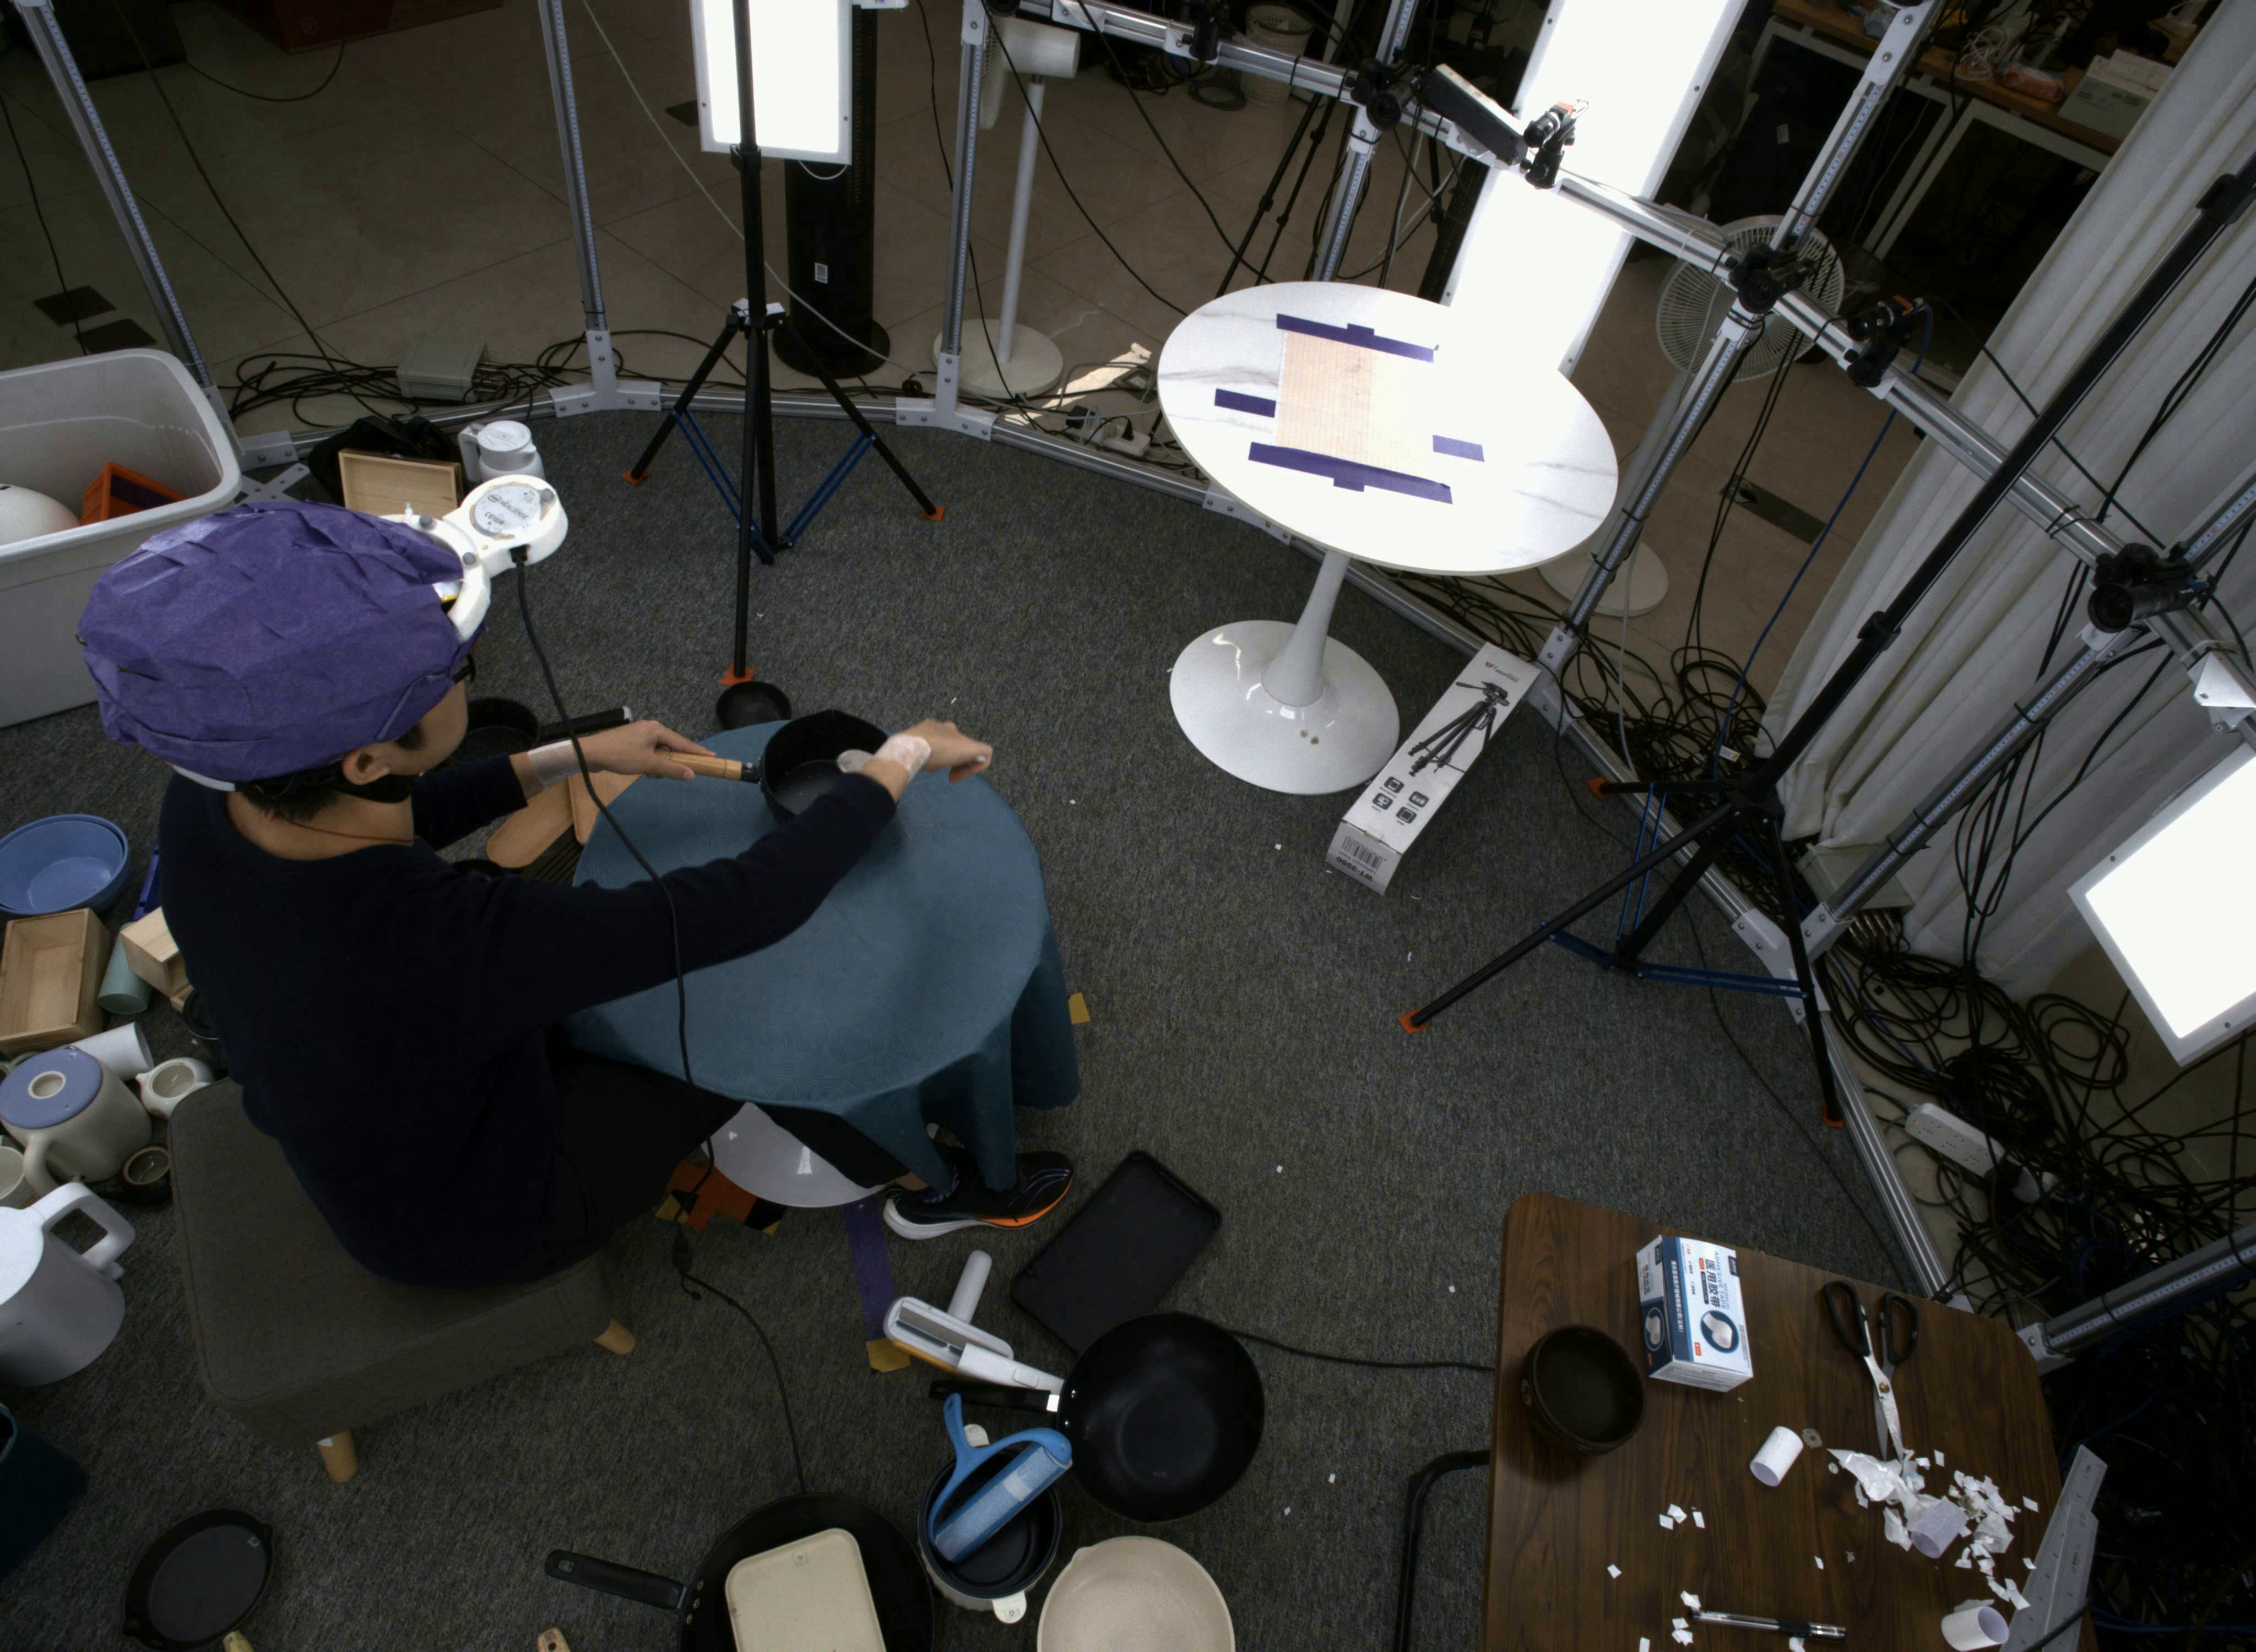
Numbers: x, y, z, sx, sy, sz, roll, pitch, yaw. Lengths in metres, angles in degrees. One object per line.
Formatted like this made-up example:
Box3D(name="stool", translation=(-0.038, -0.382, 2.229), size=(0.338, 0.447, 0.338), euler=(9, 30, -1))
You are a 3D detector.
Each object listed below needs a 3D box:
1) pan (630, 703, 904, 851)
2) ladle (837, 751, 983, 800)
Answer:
Box3D(name="pan", translation=(-0.464, -0.061, 1.665), size=(0.345, 0.109, 0.203), euler=(1, 57, -21))
Box3D(name="ladle", translation=(-0.267, -0.088, 1.627), size=(0.092, 0.268, 0.069), euler=(17, 68, -42))
